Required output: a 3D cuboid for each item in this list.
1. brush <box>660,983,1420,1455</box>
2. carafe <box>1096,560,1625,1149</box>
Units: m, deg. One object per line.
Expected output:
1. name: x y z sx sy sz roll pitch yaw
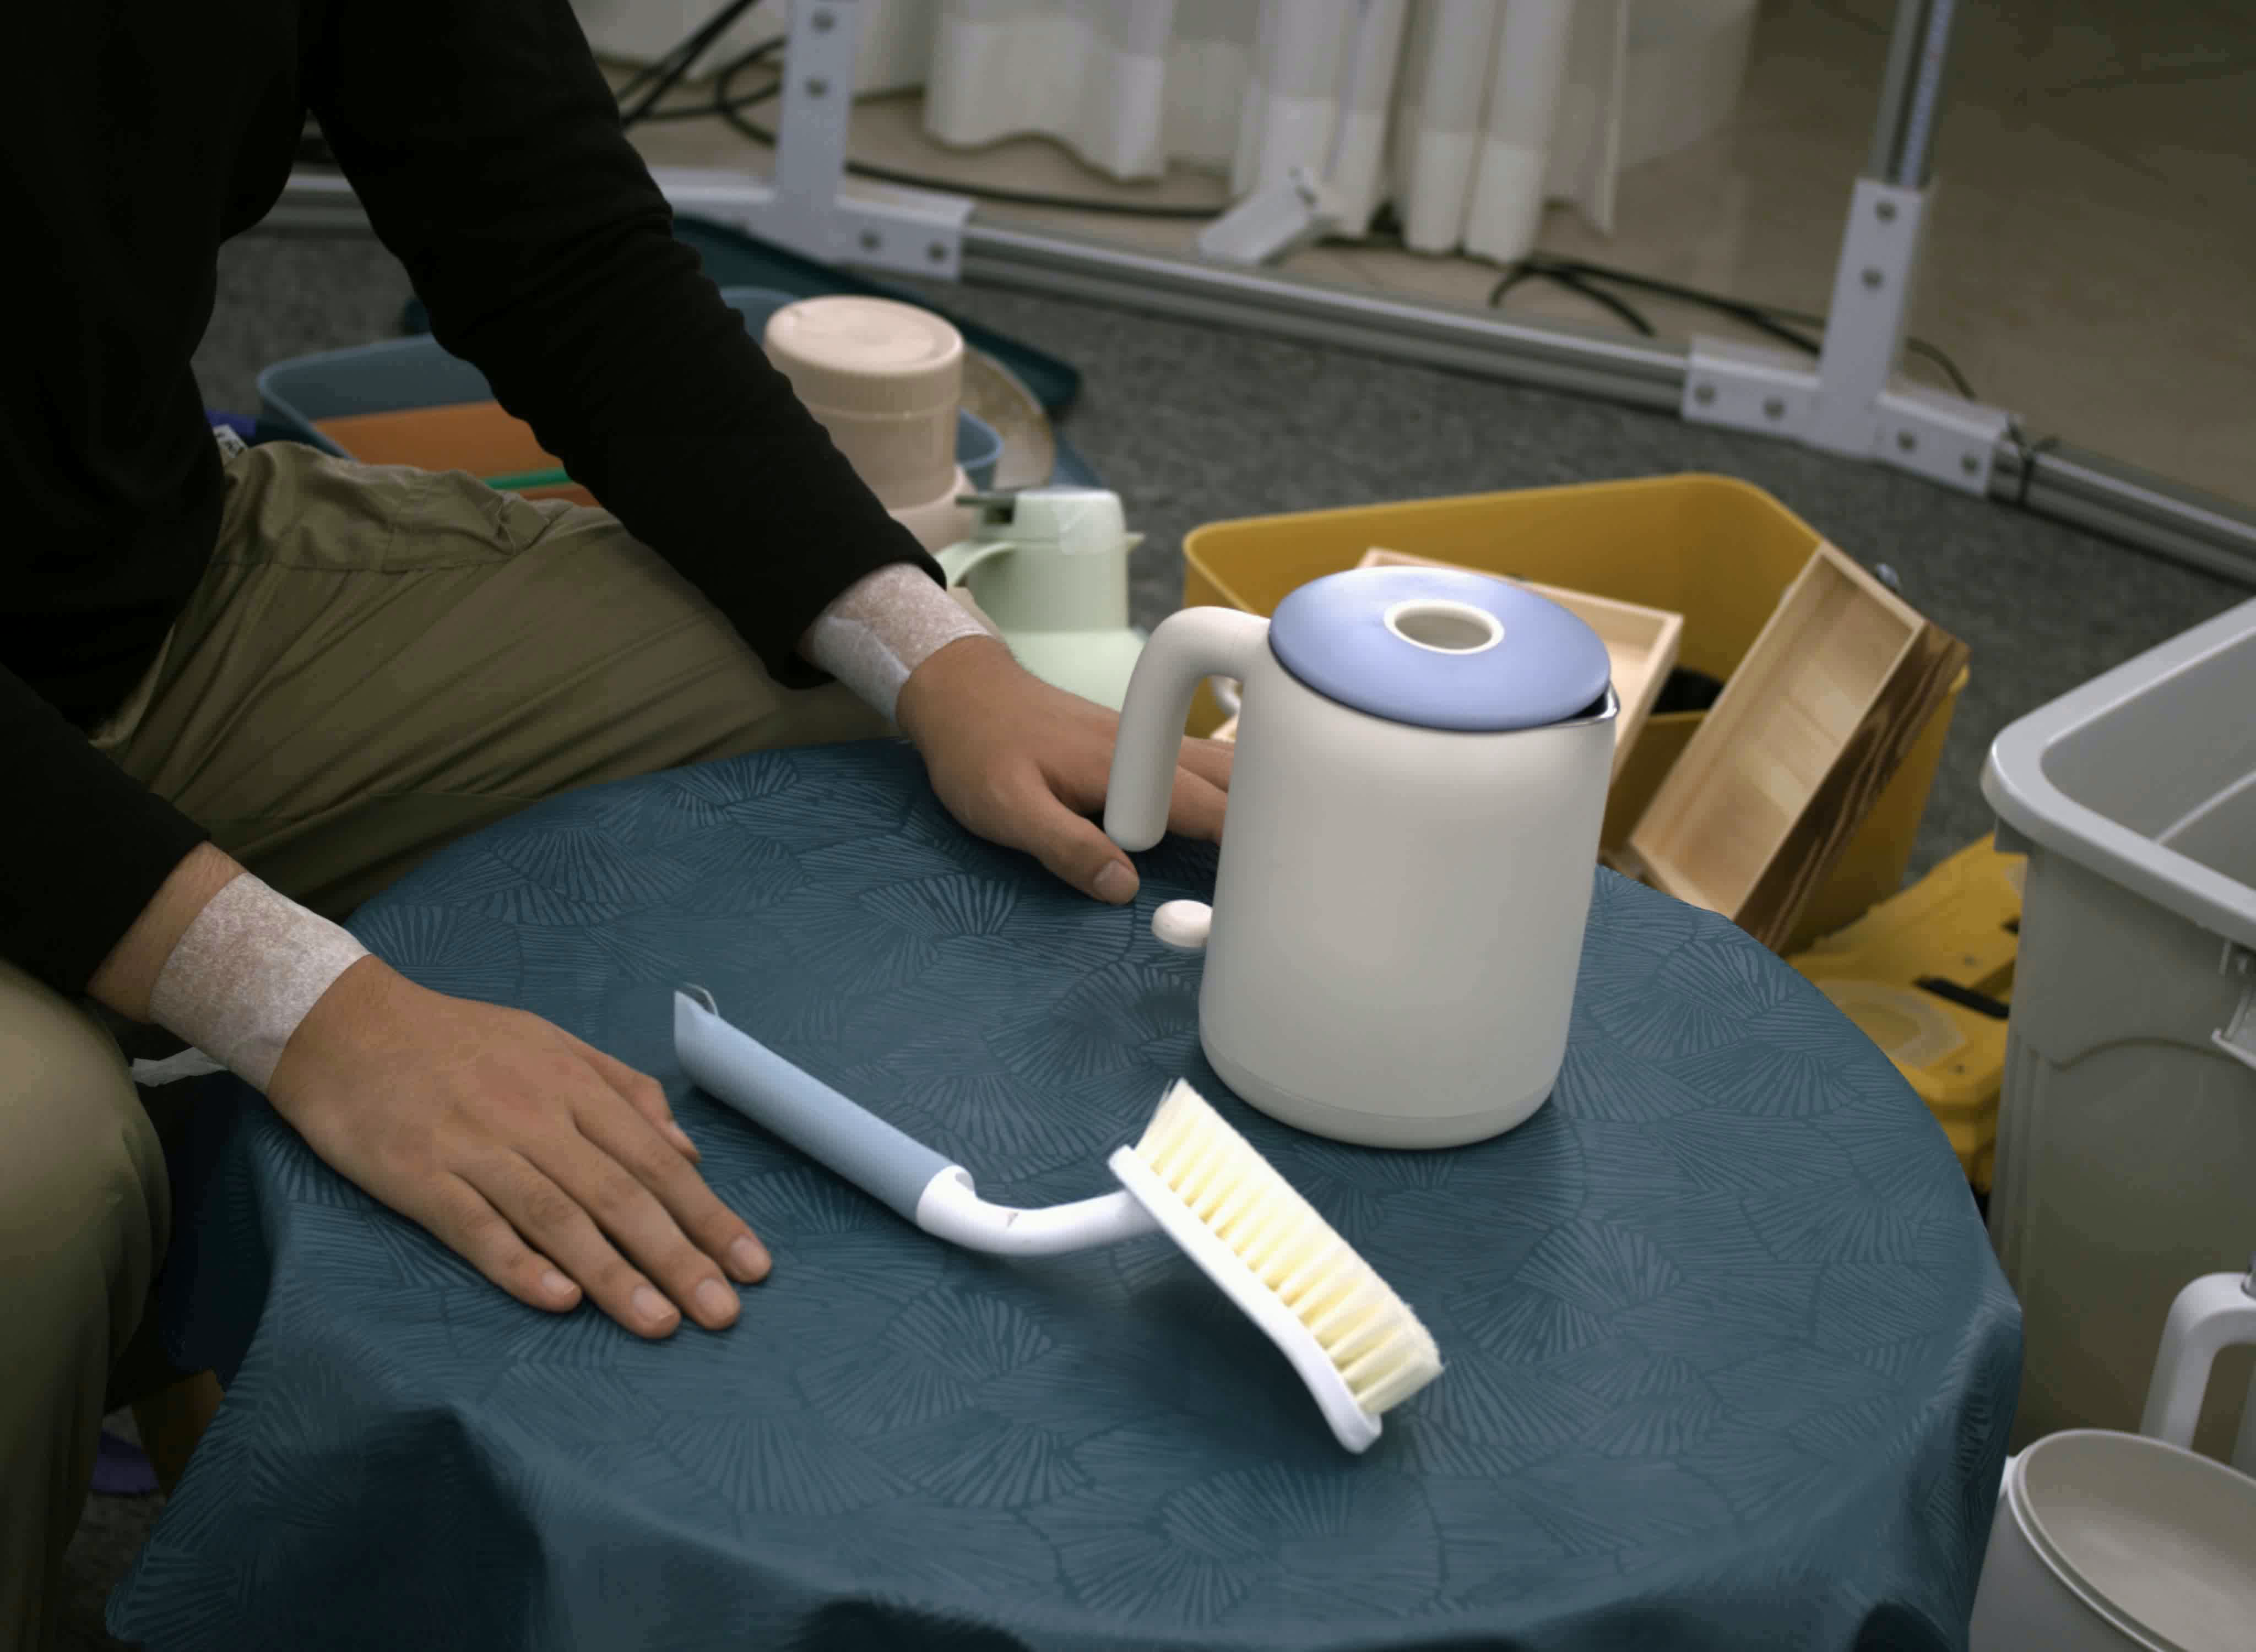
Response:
1. brush: -0.027 0.099 1.754 0.328 0.083 0.084 29 41 35
2. carafe: 0.076 0.002 1.868 0.192 0.182 0.132 18 28 24
